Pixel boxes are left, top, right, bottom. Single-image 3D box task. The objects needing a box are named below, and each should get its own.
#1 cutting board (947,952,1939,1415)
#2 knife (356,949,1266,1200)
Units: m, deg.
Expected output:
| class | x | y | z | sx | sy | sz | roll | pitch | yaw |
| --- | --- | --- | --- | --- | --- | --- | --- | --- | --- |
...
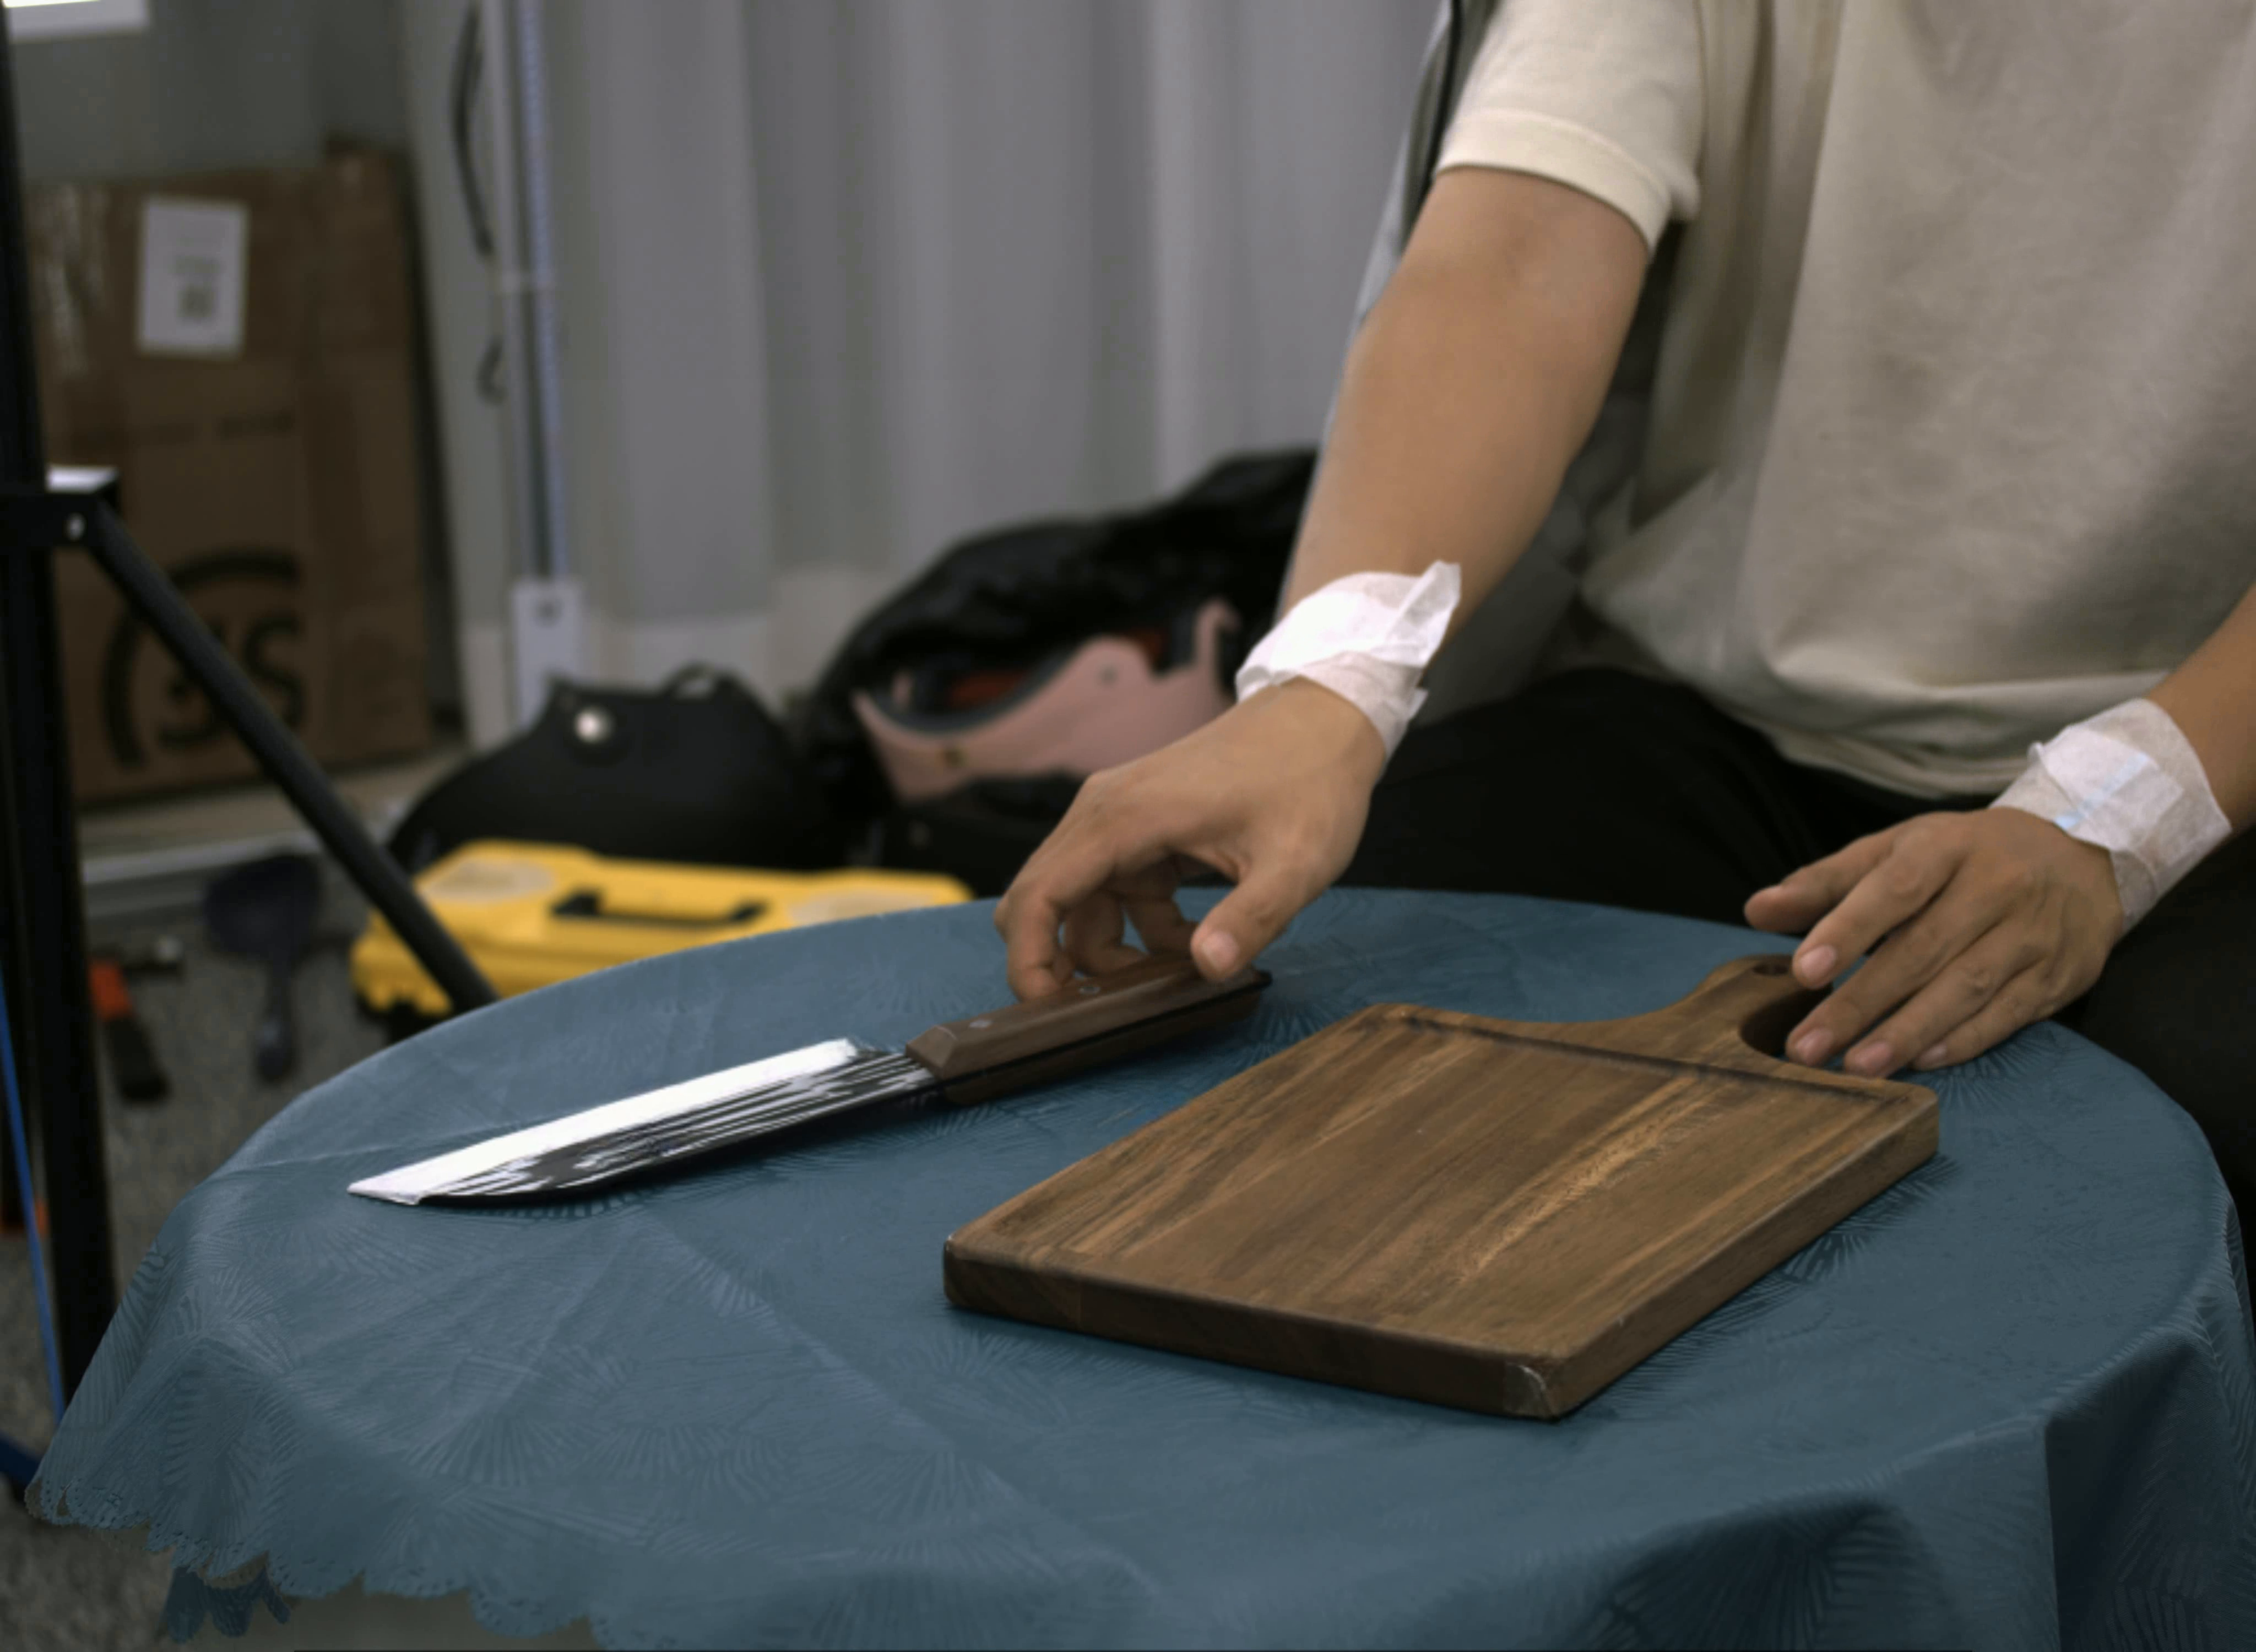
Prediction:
| class | x | y | z | sx | sy | sz | roll | pitch | yaw |
| --- | --- | --- | --- | --- | --- | --- | --- | --- | --- |
| cutting board | 0.121 | 0.093 | 1.552 | 0.205 | 0.023 | 0.345 | 8 | 18 | 32 |
| knife | -0.094 | 0.078 | 1.641 | 0.293 | 0.024 | 0.069 | -15 | 17 | -28 |
